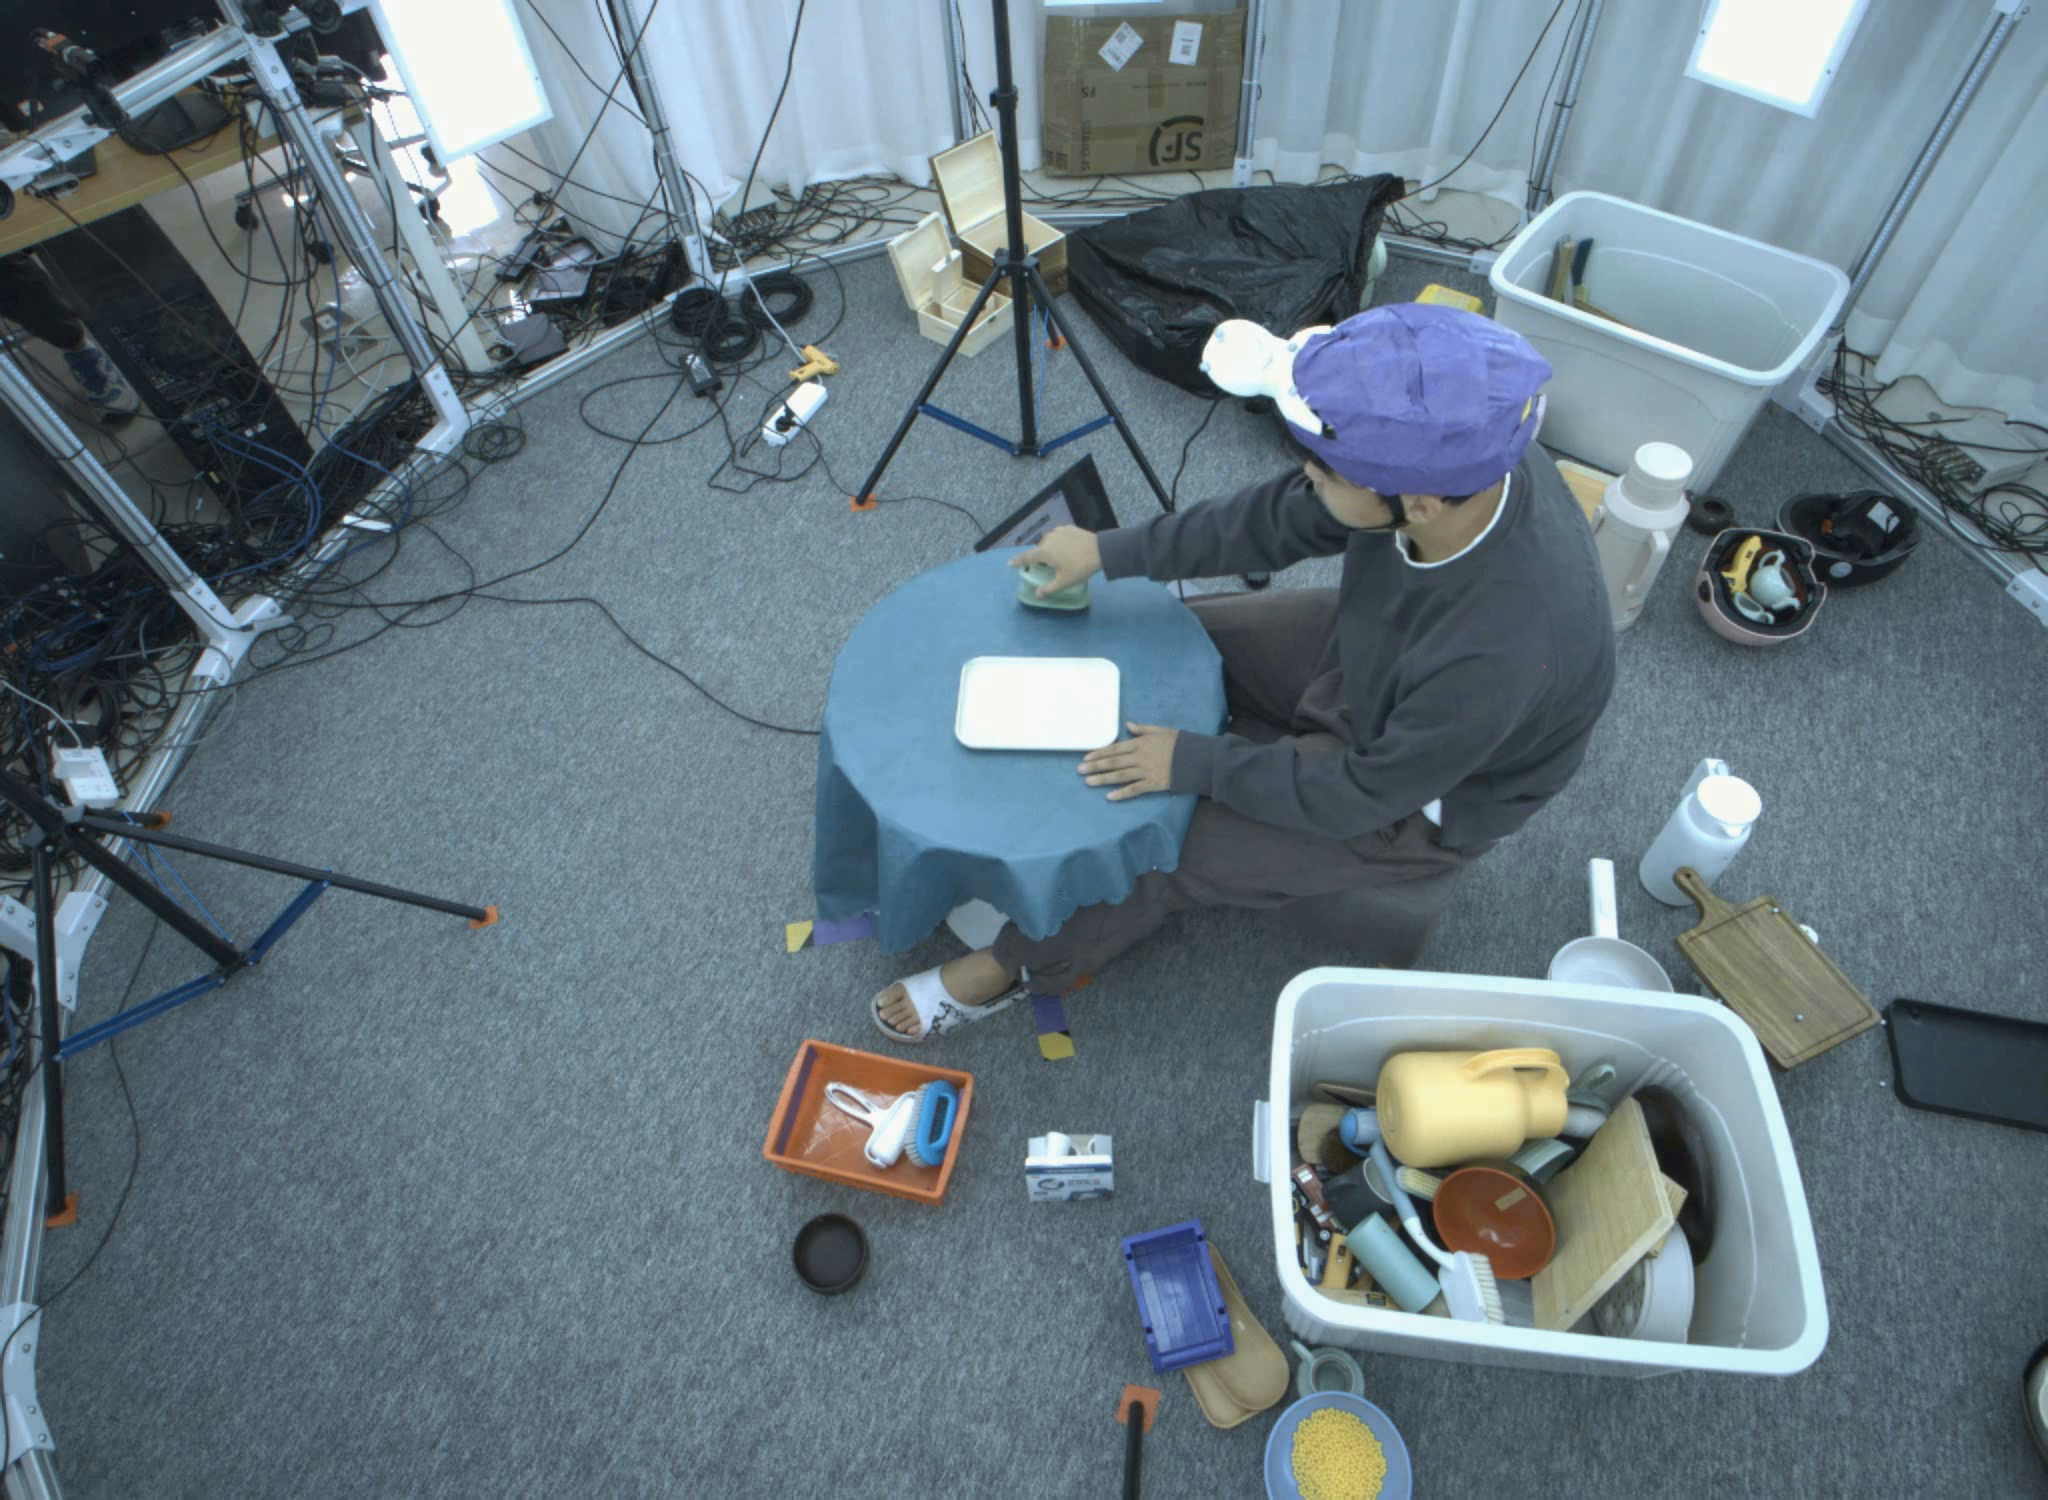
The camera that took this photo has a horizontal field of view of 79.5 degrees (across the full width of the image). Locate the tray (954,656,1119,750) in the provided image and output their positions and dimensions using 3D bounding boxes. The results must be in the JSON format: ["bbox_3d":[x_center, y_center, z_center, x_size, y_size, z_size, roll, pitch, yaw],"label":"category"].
[{"bbox_3d":[0.020,-0.070,1.825,0.239,0.017,0.169,2,55,2],"label":"tray"}]

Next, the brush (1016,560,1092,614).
[{"bbox_3d":[0.044,-0.252,1.926,0.123,0.076,0.059,14,58,-4],"label":"brush"}]
